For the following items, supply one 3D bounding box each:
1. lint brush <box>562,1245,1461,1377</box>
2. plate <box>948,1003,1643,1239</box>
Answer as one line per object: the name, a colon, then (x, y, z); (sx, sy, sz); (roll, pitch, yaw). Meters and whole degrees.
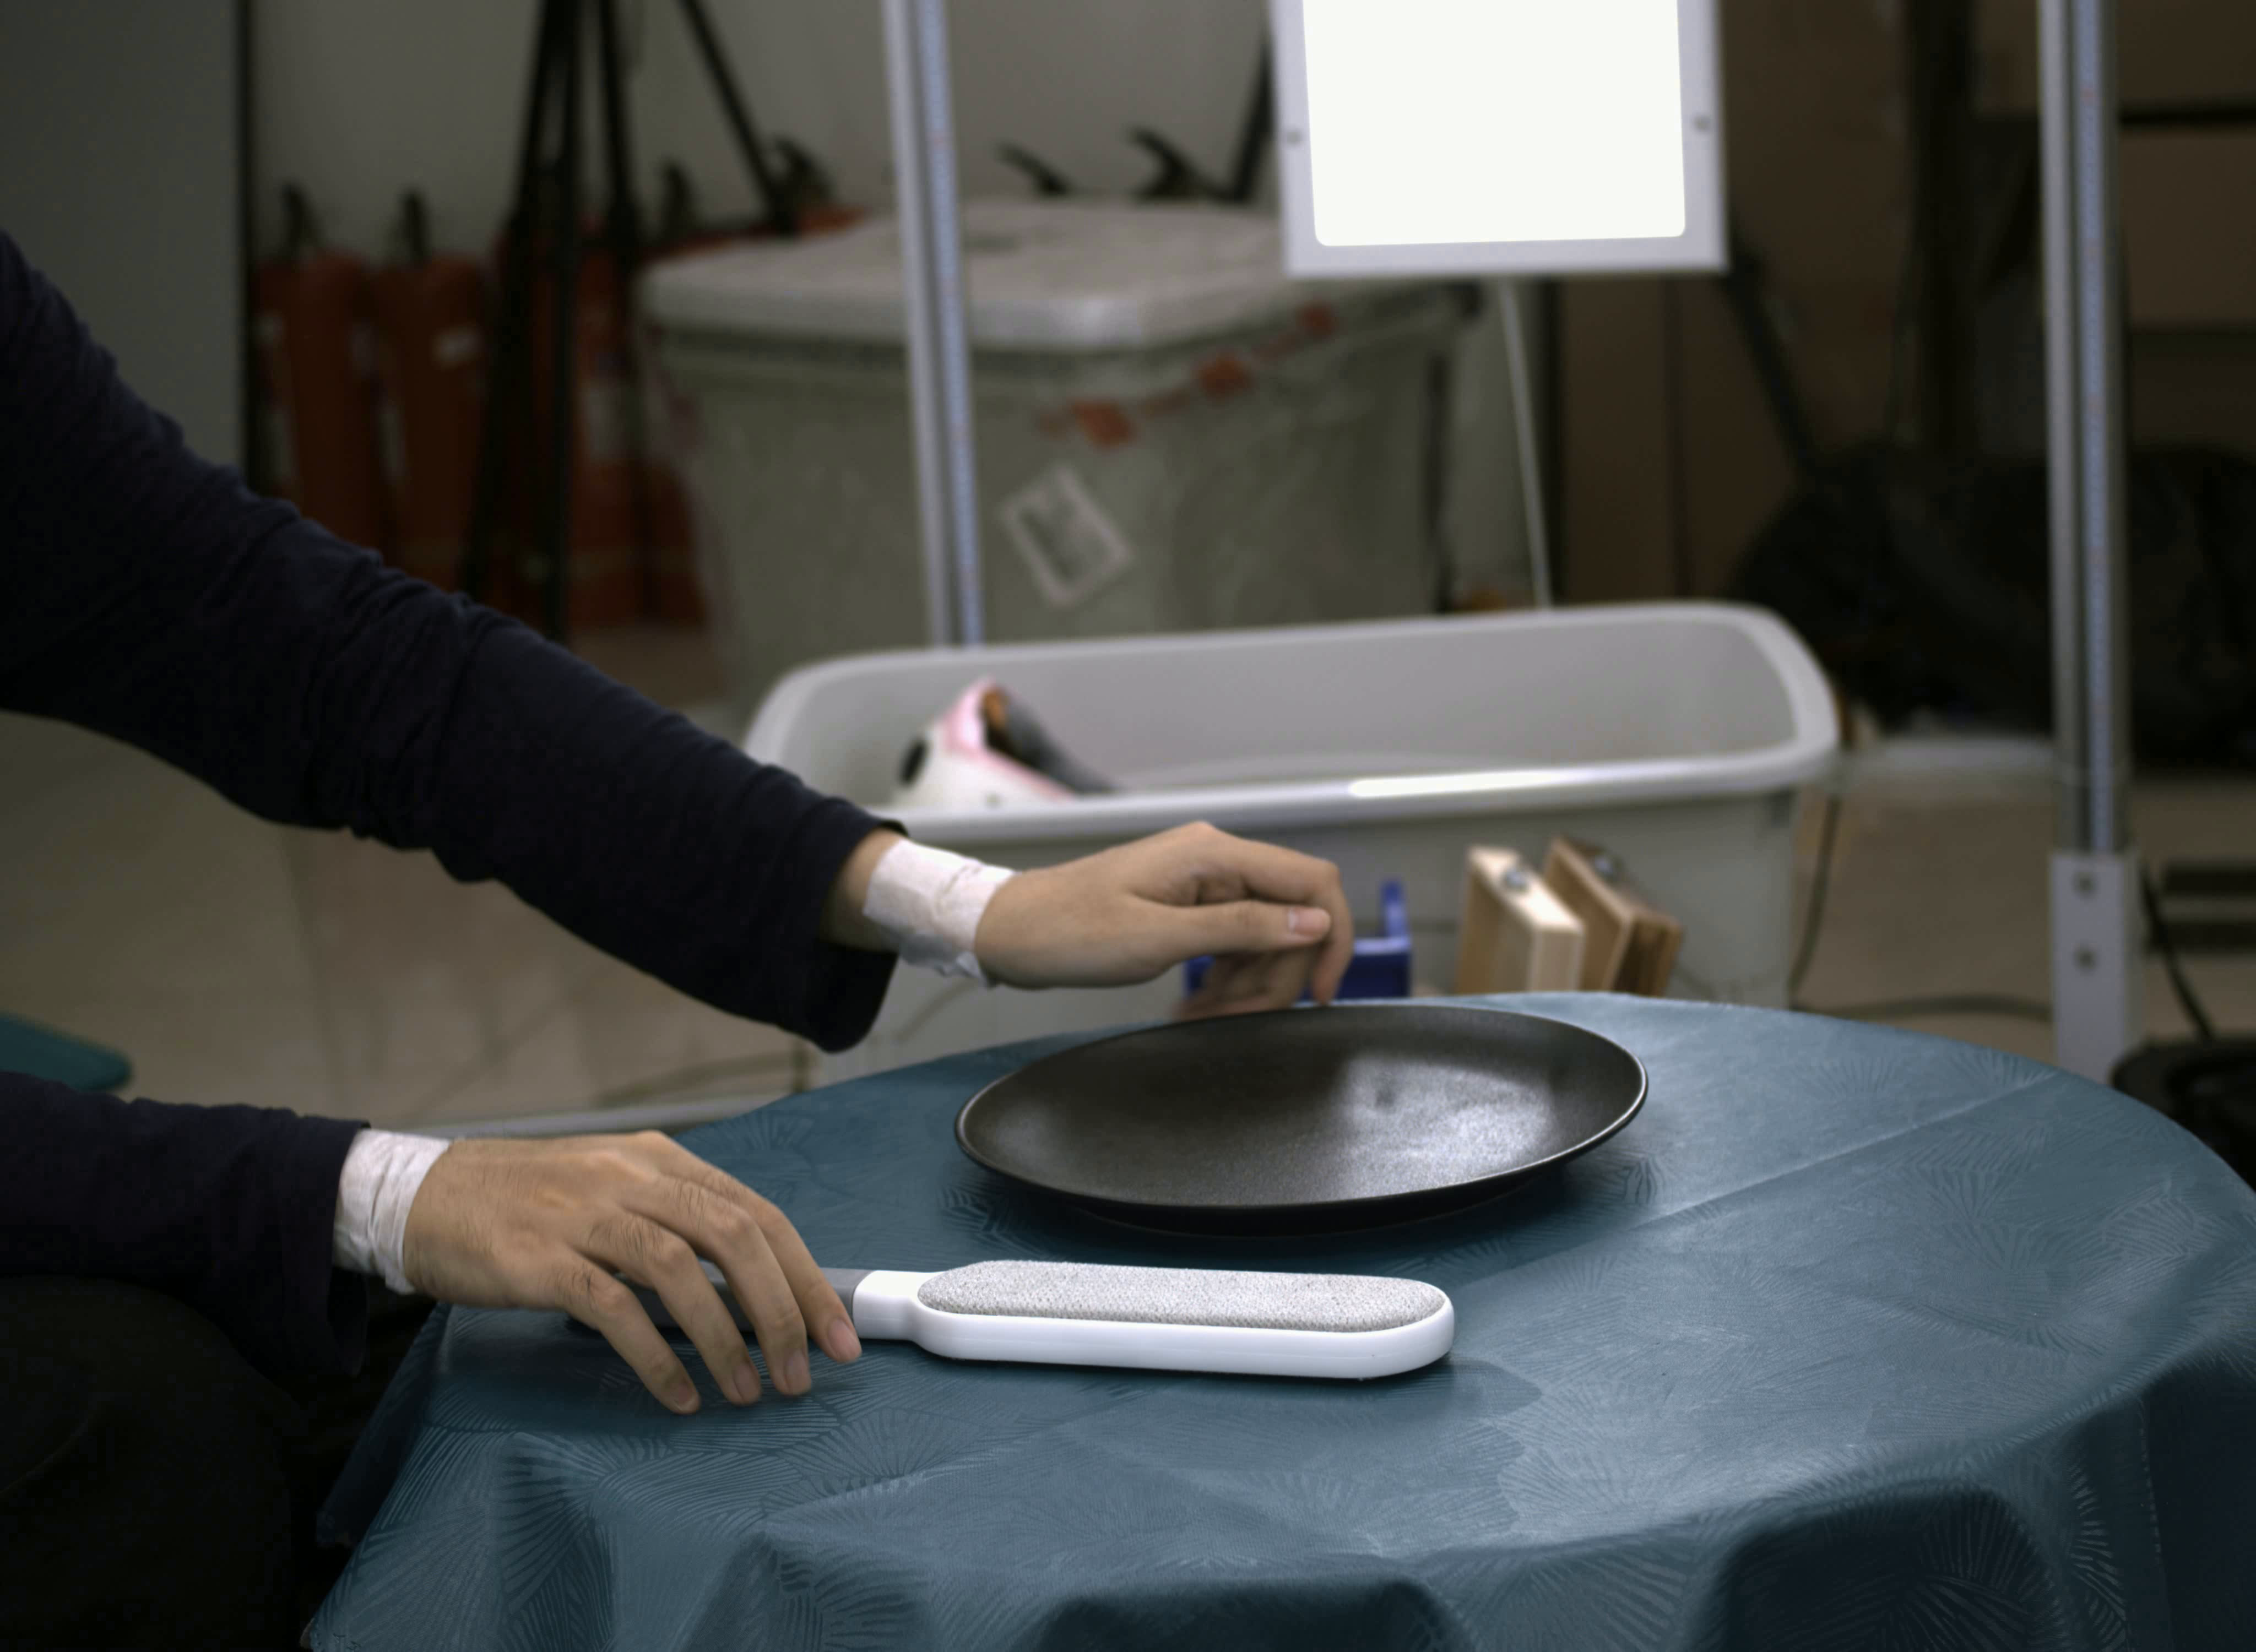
lint brush: (-0.042, 0.151, 1.761); (0.314, 0.021, 0.059); (1, 20, 24)
plate: (0.059, 0.105, 1.919); (0.244, 0.023, 0.244); (-5, 14, 0)
